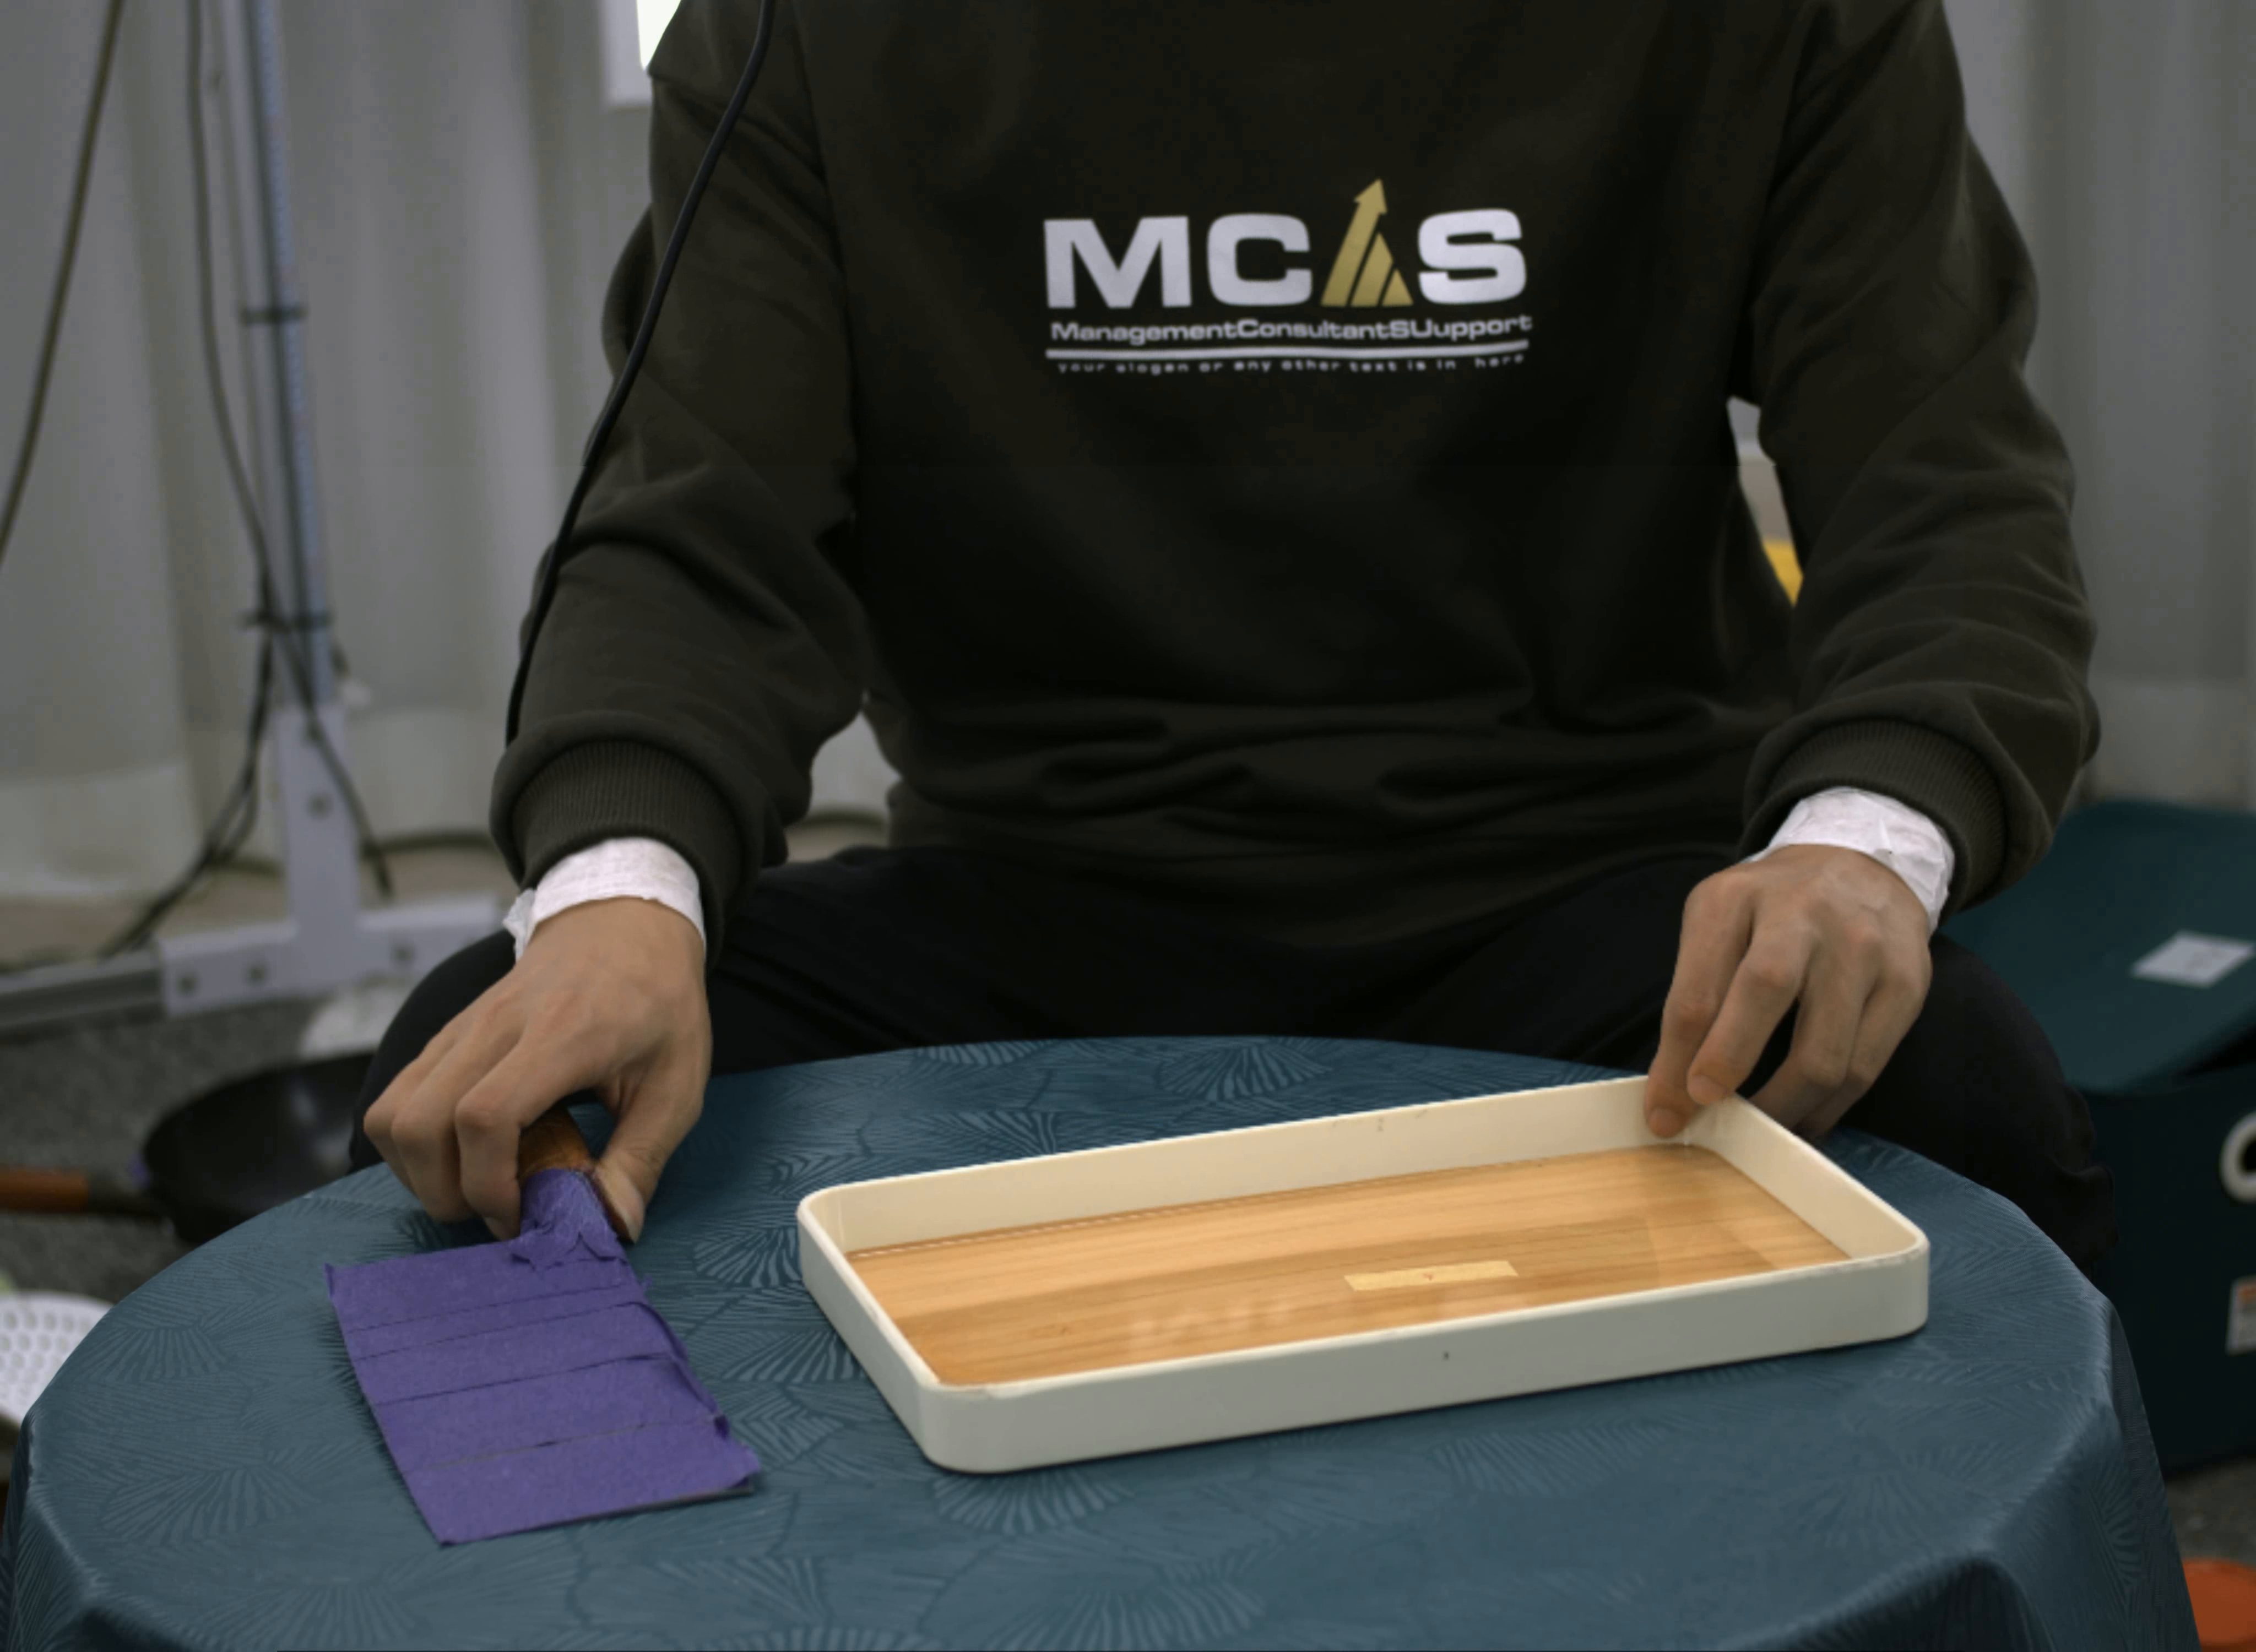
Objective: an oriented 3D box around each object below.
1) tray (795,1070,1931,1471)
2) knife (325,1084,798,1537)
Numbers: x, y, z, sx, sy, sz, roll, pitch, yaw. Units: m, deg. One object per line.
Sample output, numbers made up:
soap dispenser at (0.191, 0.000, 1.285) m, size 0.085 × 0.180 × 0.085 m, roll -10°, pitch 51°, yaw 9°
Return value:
tray at (0.065, 0.127, 1.605) m, size 0.299 × 0.027 × 0.193 m, roll -7°, pitch 15°, yaw -15°
knife at (-0.185, 0.138, 1.610) m, size 0.103 × 0.032 × 0.318 m, roll -7°, pitch 16°, yaw -16°
